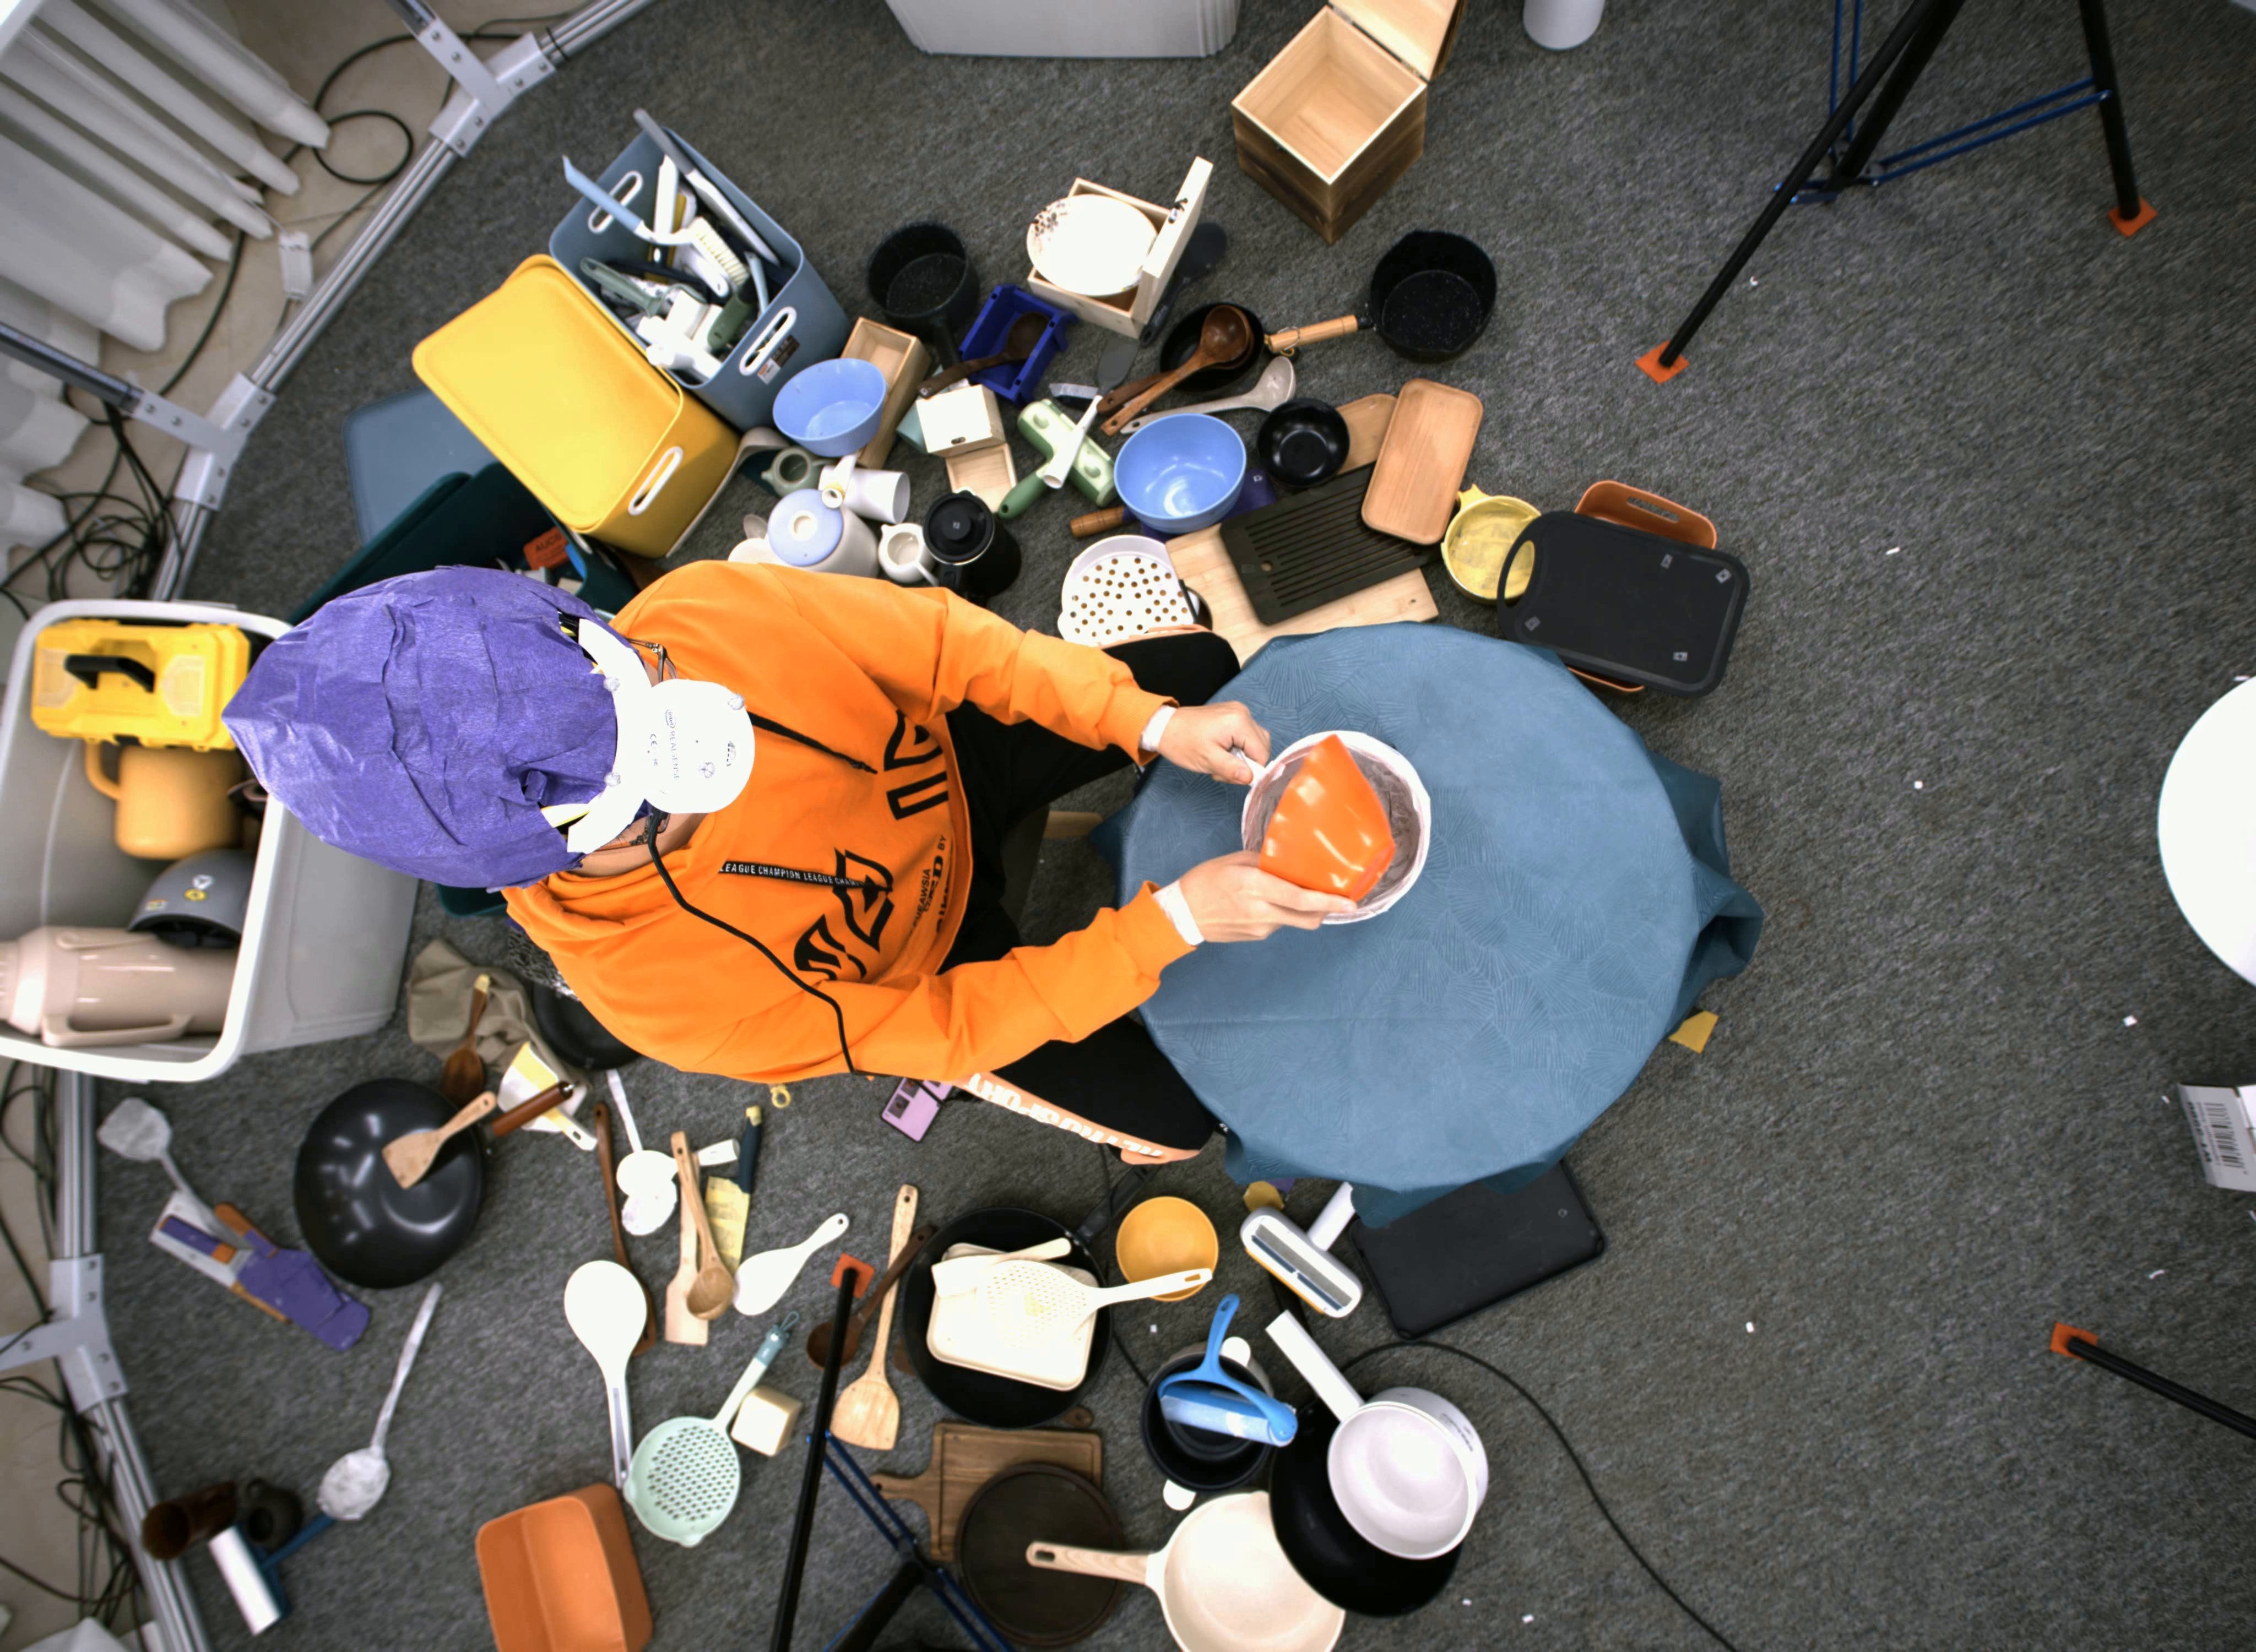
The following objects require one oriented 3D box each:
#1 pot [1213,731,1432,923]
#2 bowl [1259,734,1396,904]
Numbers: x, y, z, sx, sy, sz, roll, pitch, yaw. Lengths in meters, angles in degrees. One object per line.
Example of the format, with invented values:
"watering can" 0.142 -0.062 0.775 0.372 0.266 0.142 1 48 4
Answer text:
"pot" 0.184 -0.018 1.363 0.233 0.135 0.181 31 104 6
"bowl" 0.187 0.005 1.247 0.104 0.148 0.148 36 92 21
